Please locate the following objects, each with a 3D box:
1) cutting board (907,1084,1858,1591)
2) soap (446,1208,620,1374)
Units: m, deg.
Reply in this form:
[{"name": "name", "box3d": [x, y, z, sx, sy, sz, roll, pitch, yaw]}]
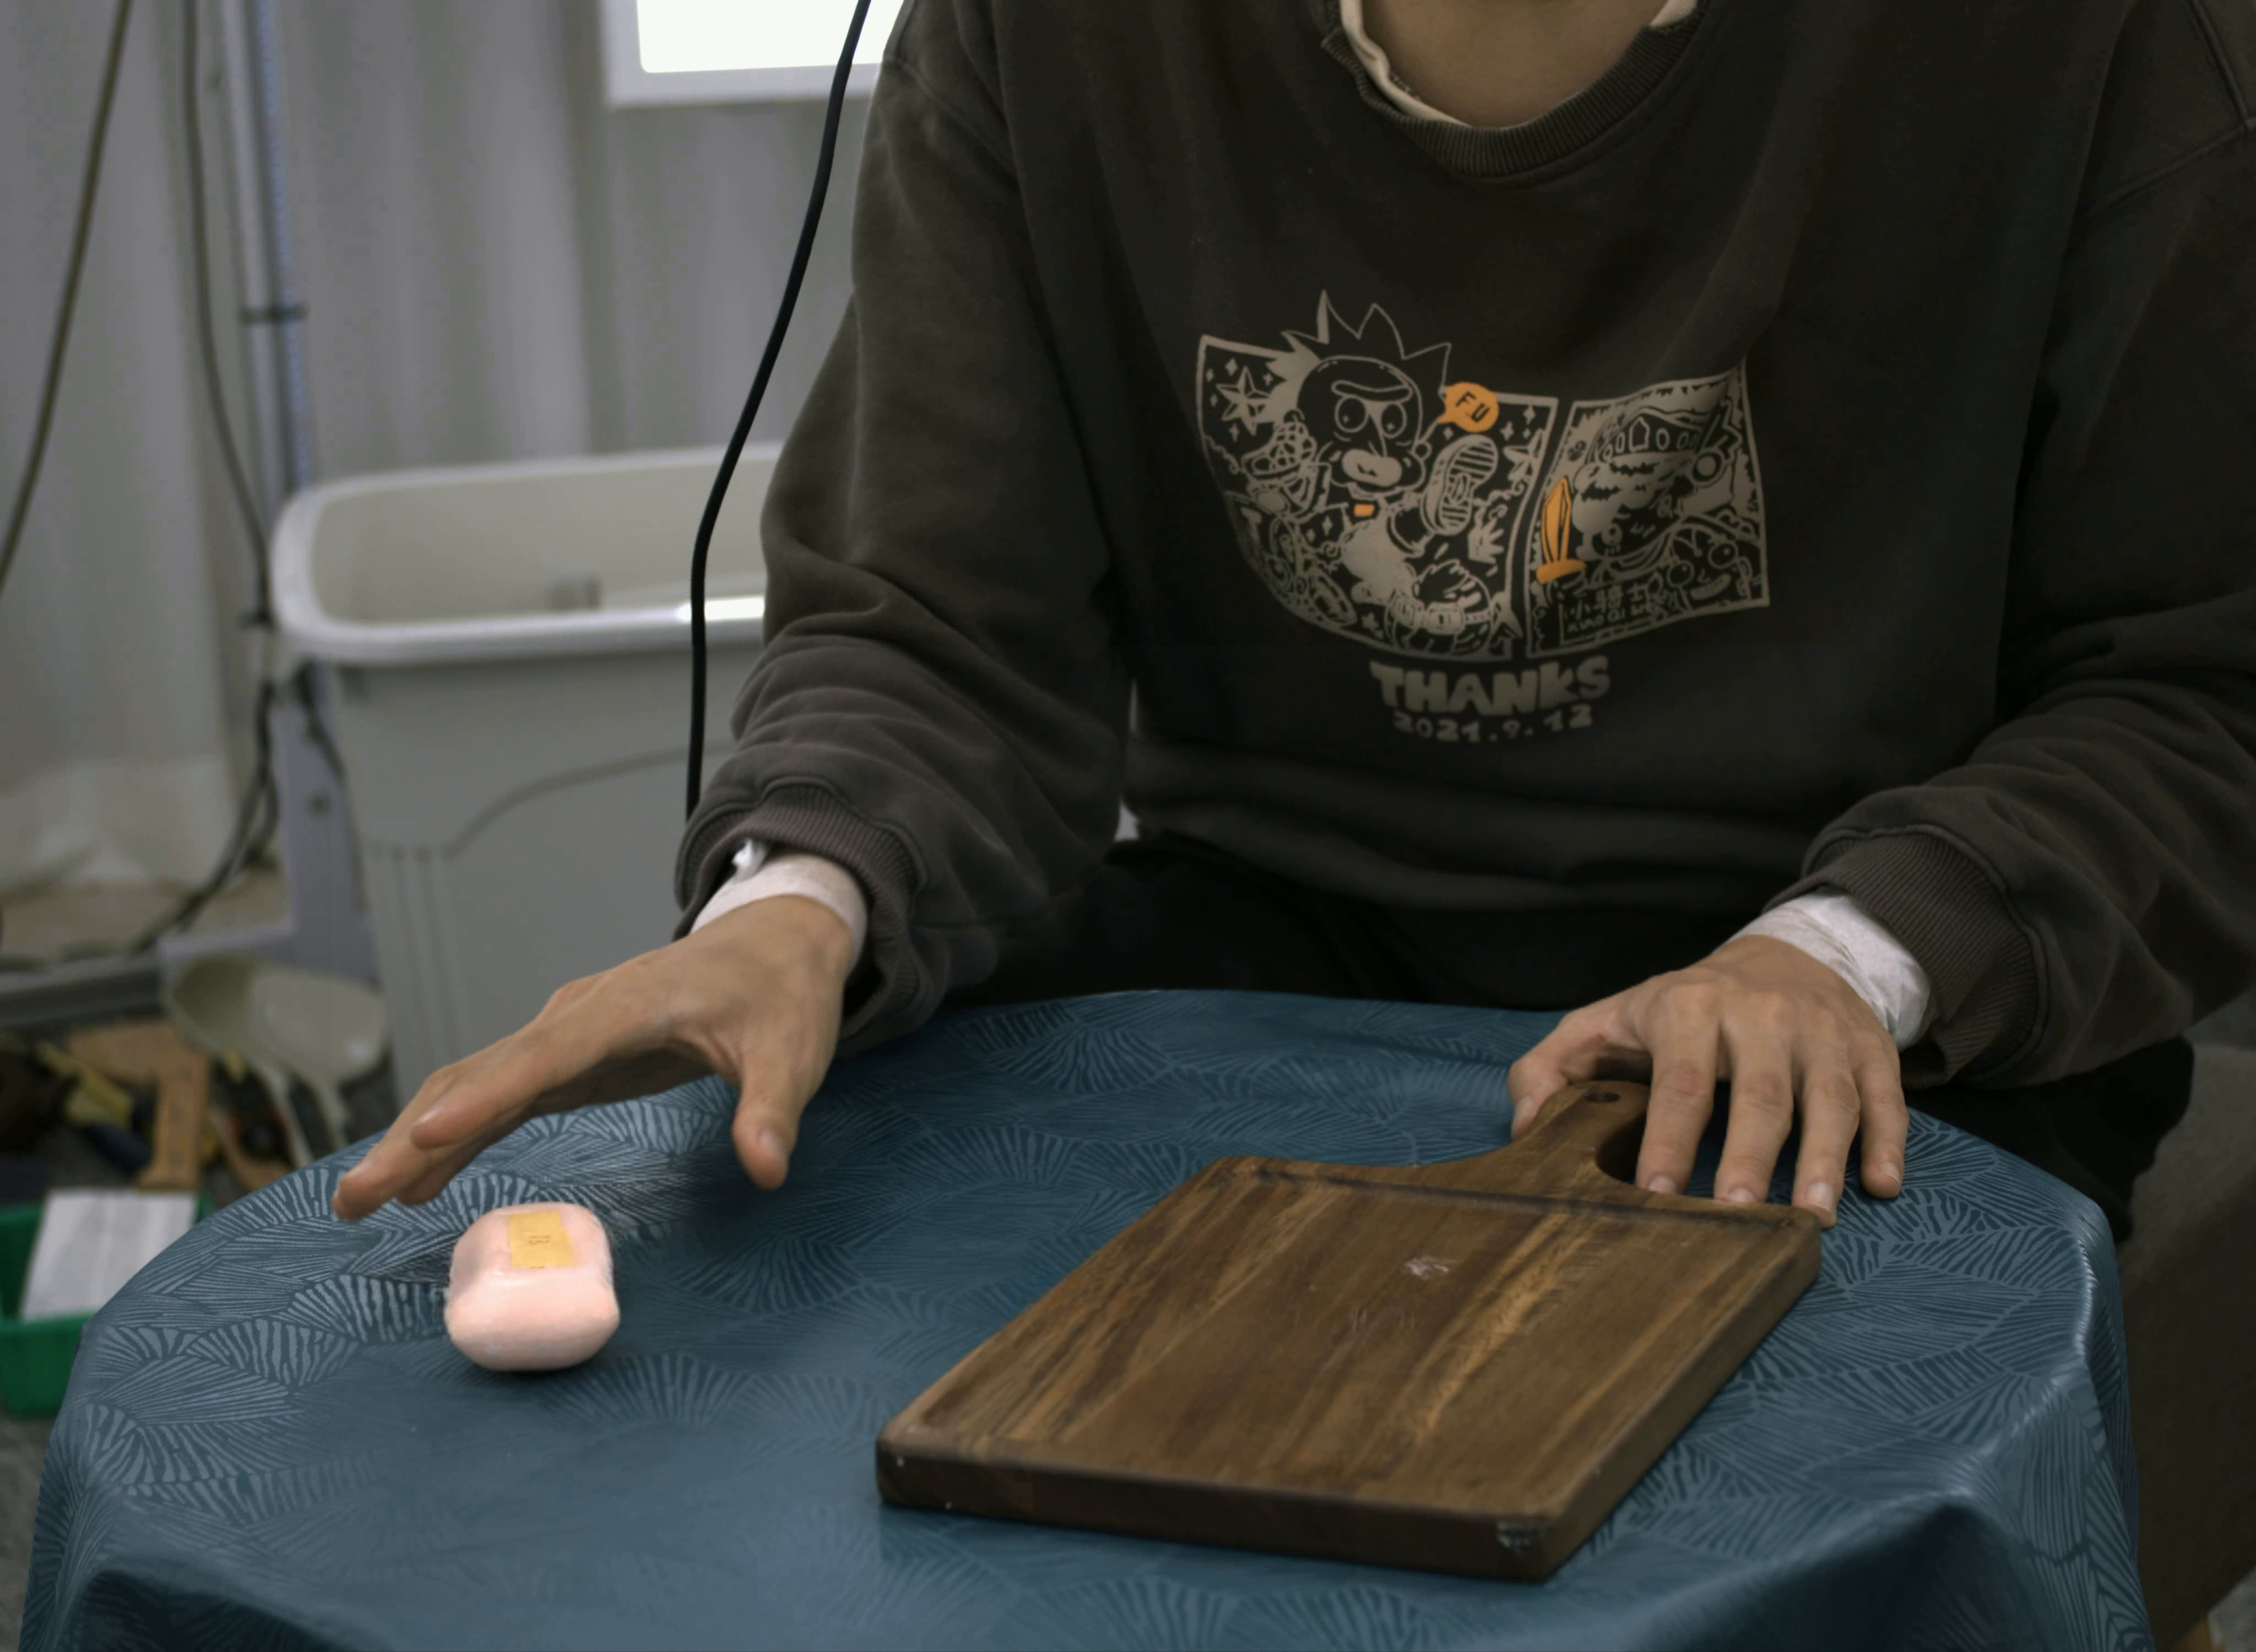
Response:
[{"name": "cutting board", "box3d": [0.097, 0.137, 1.581, 0.201, 0.023, 0.353, 4, 16, 24]}, {"name": "soap", "box3d": [-0.176, 0.137, 1.619, 0.050, 0.030, 0.095, -3, 14, -4]}]
